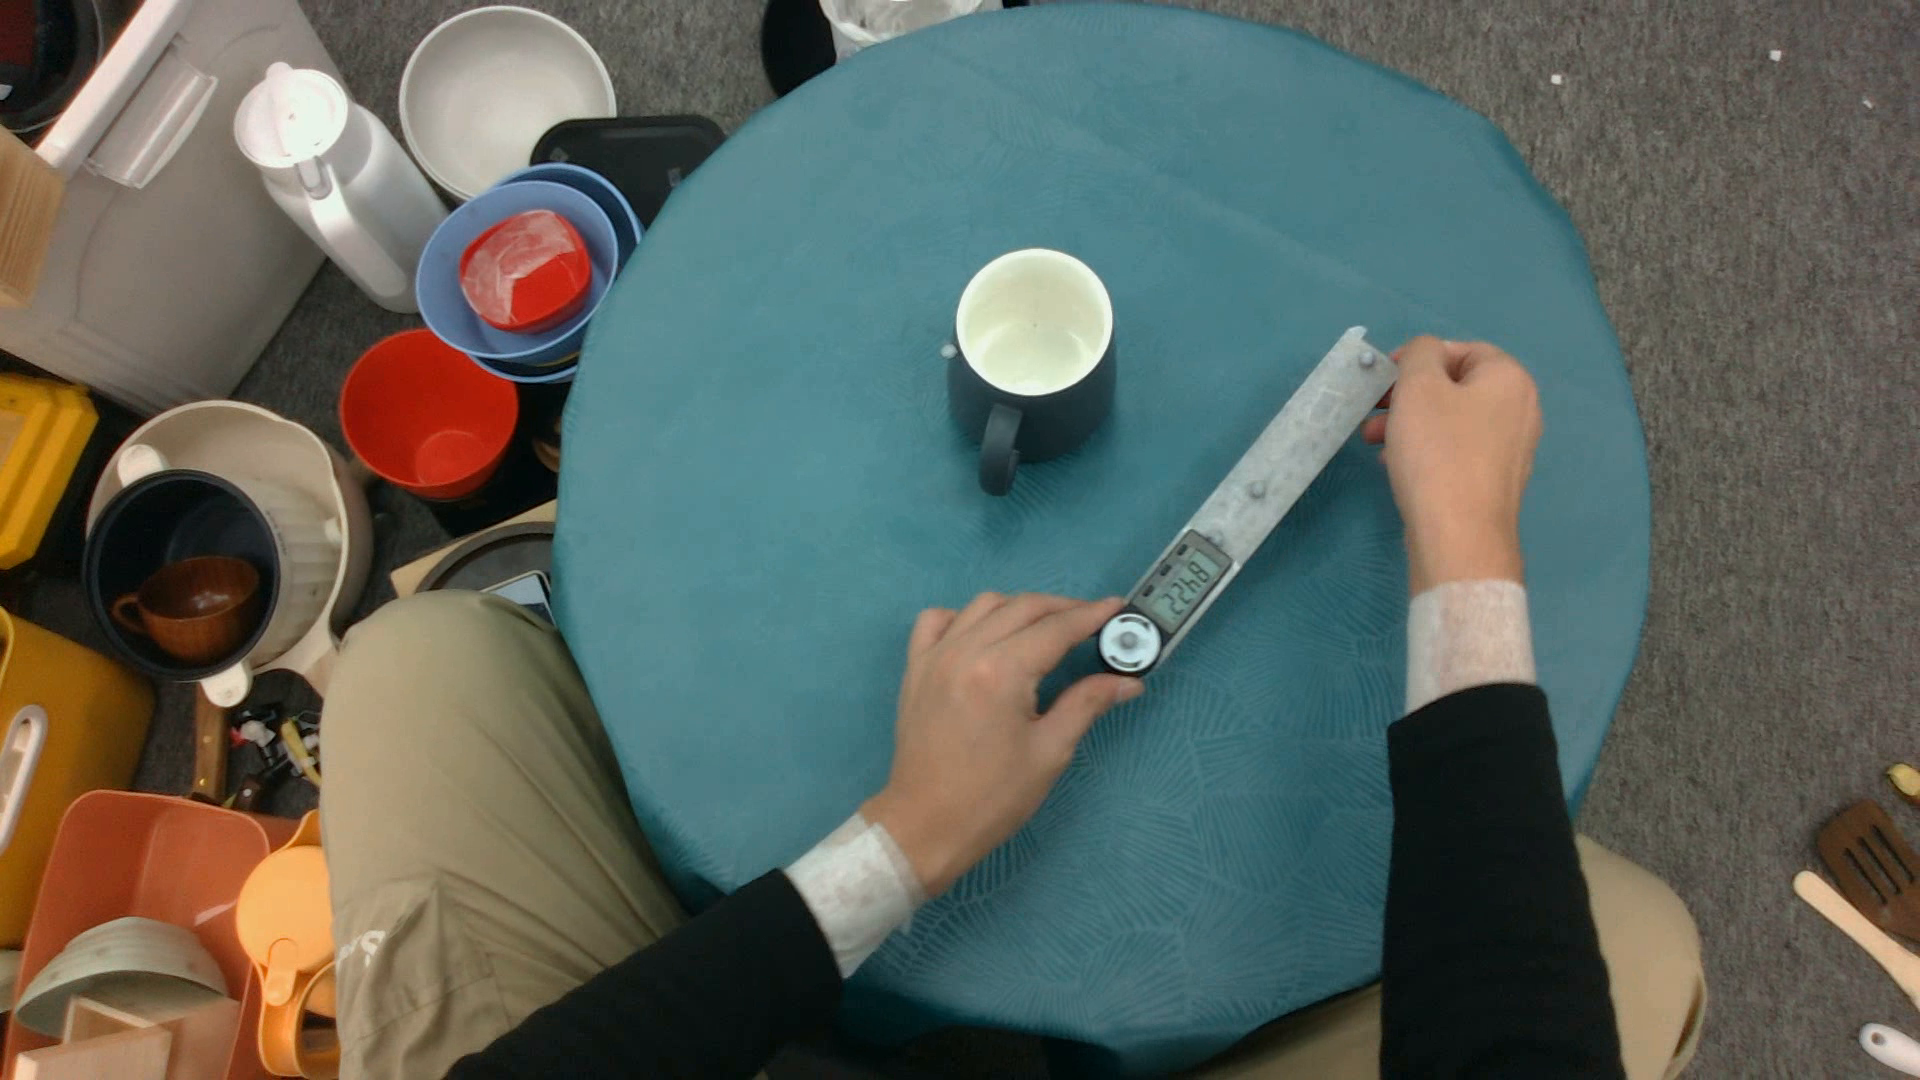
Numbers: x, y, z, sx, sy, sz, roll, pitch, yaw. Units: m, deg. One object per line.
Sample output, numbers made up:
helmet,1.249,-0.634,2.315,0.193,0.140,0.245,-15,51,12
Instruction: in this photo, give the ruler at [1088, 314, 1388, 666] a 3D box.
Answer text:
ruler,0.140,-0.025,0.700,0.038,0.024,0.218,39,85,4

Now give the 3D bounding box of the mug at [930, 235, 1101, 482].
mug,0.025,-0.090,0.725,0.093,0.089,0.123,17,73,7
